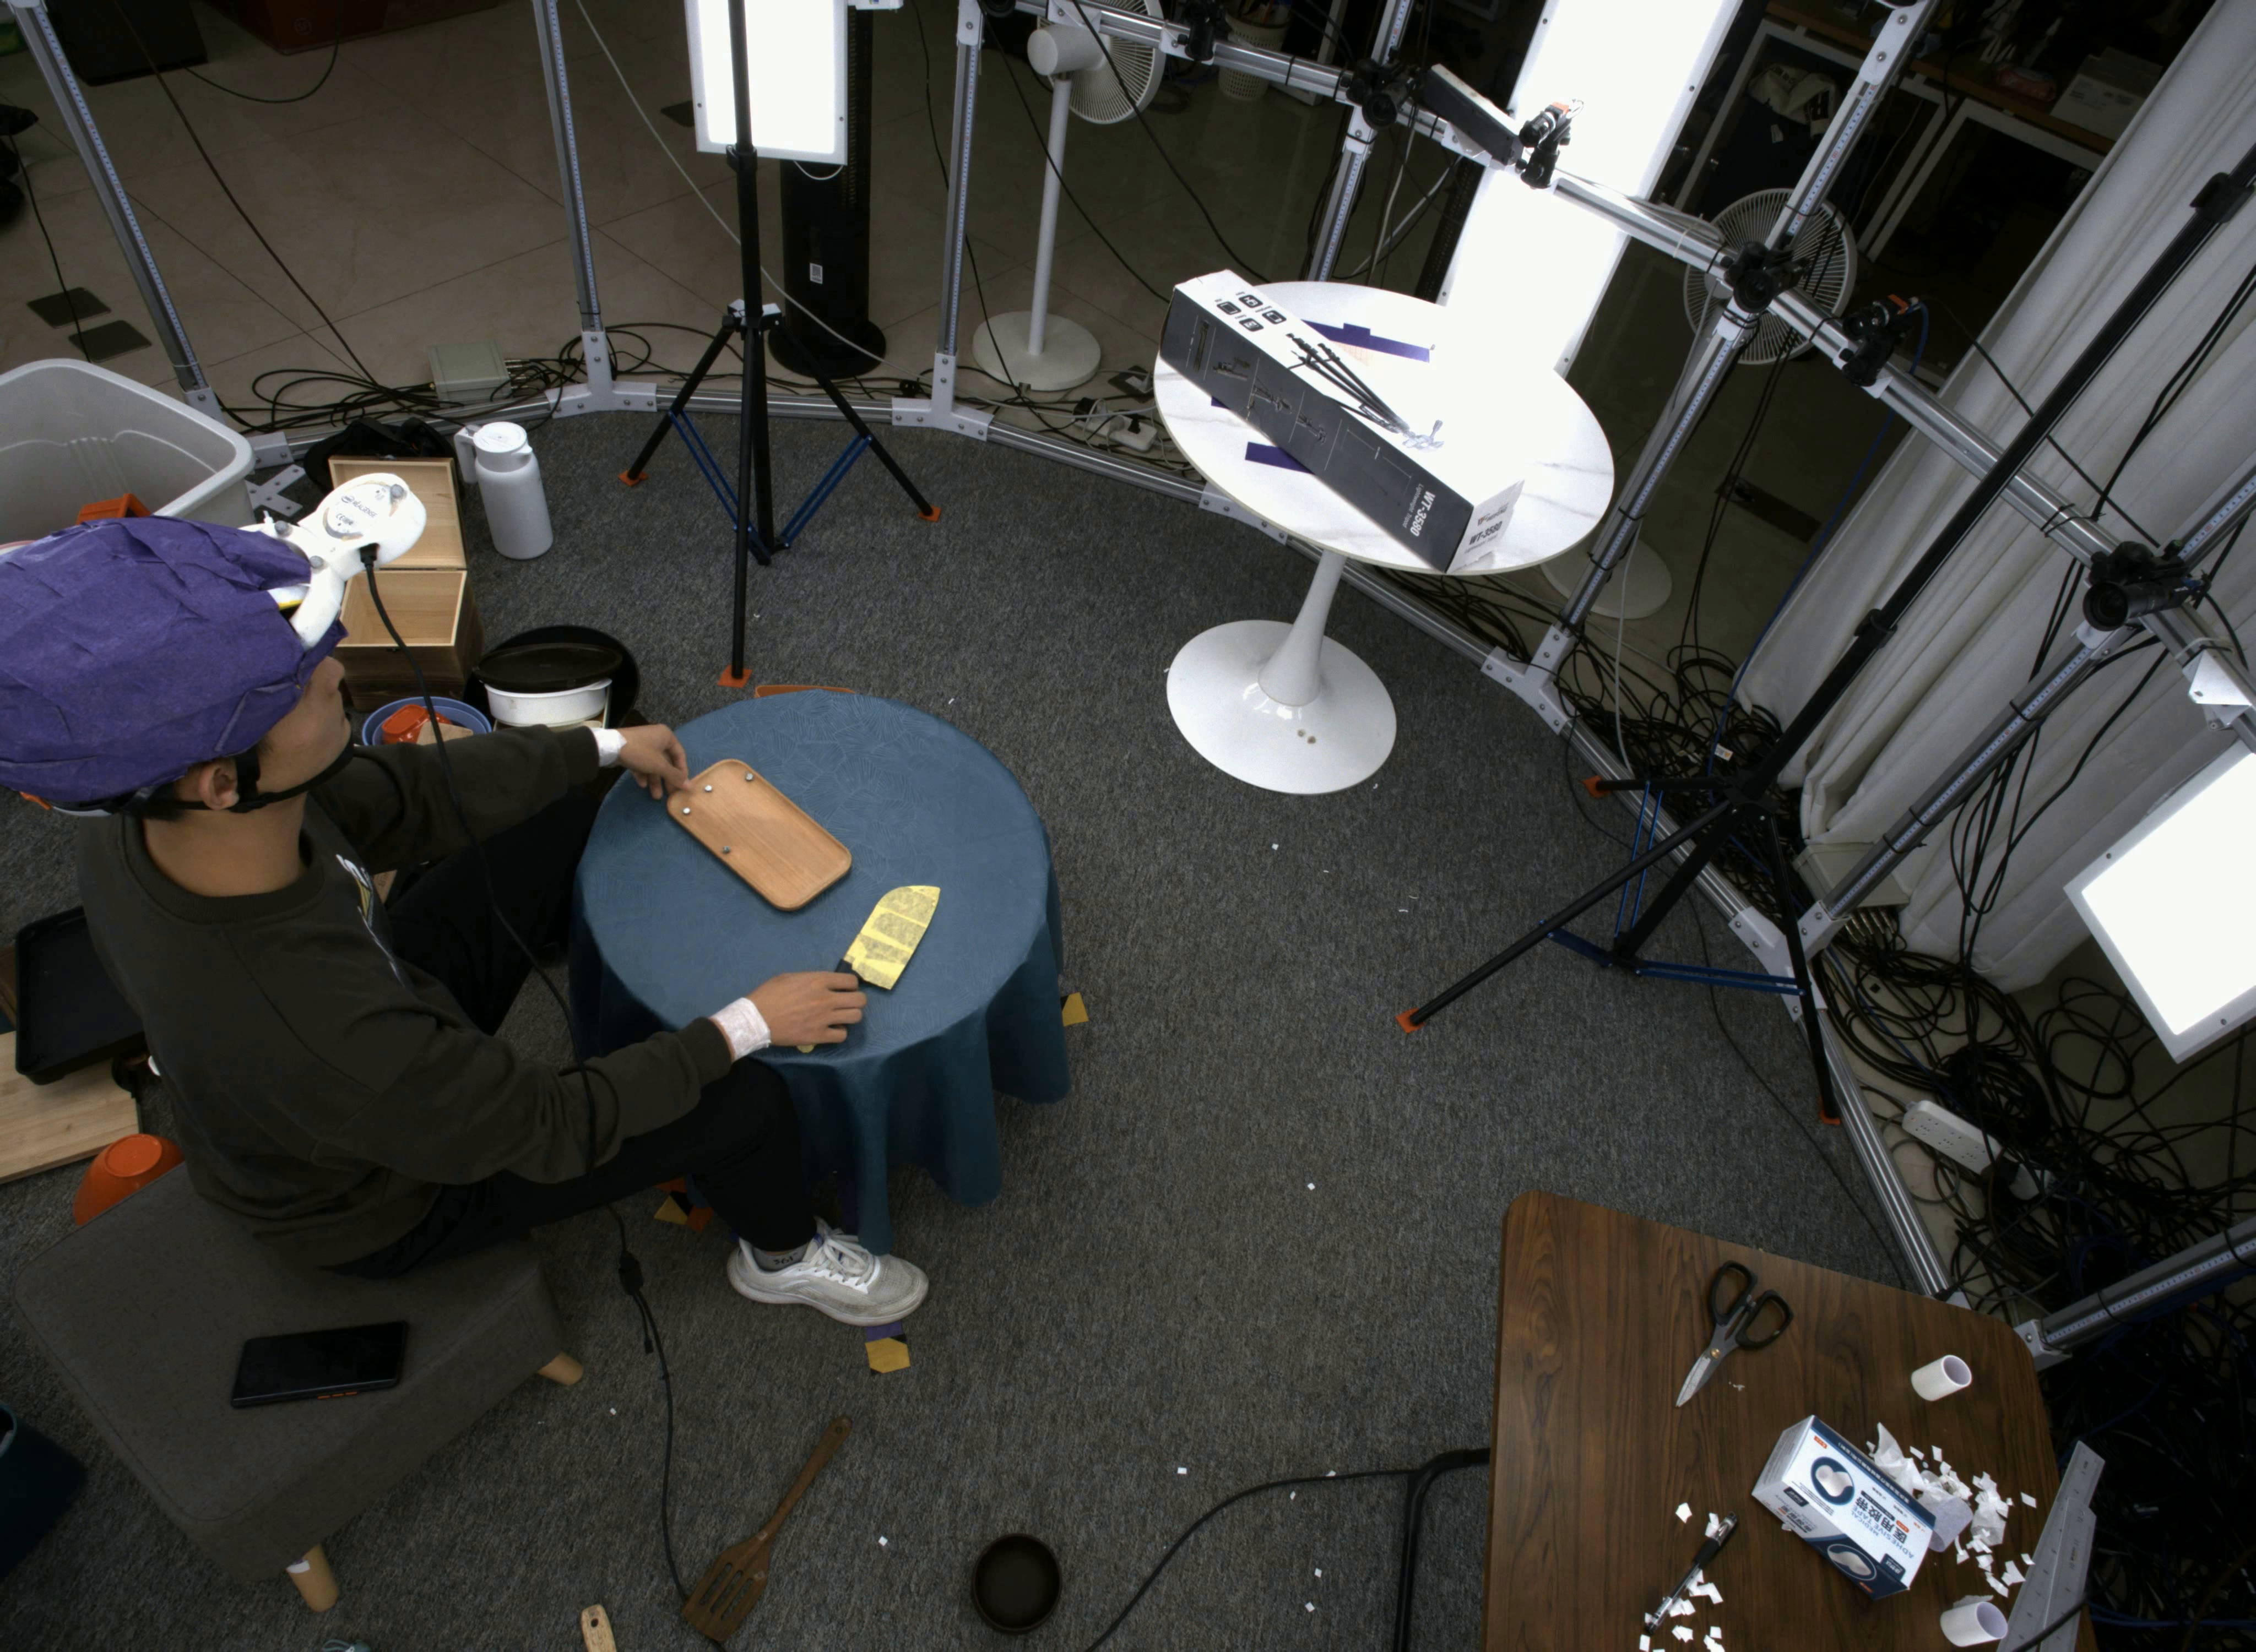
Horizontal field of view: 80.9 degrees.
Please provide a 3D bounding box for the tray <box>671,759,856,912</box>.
[{"bbox_3d":[-0.480,0.009,1.704,0.246,0.023,0.130,38,57,13],"label":"tray"}]

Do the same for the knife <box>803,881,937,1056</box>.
[{"bbox_3d":[-0.318,0.171,1.626,0.080,0.028,0.287,24,51,6],"label":"knife"}]
